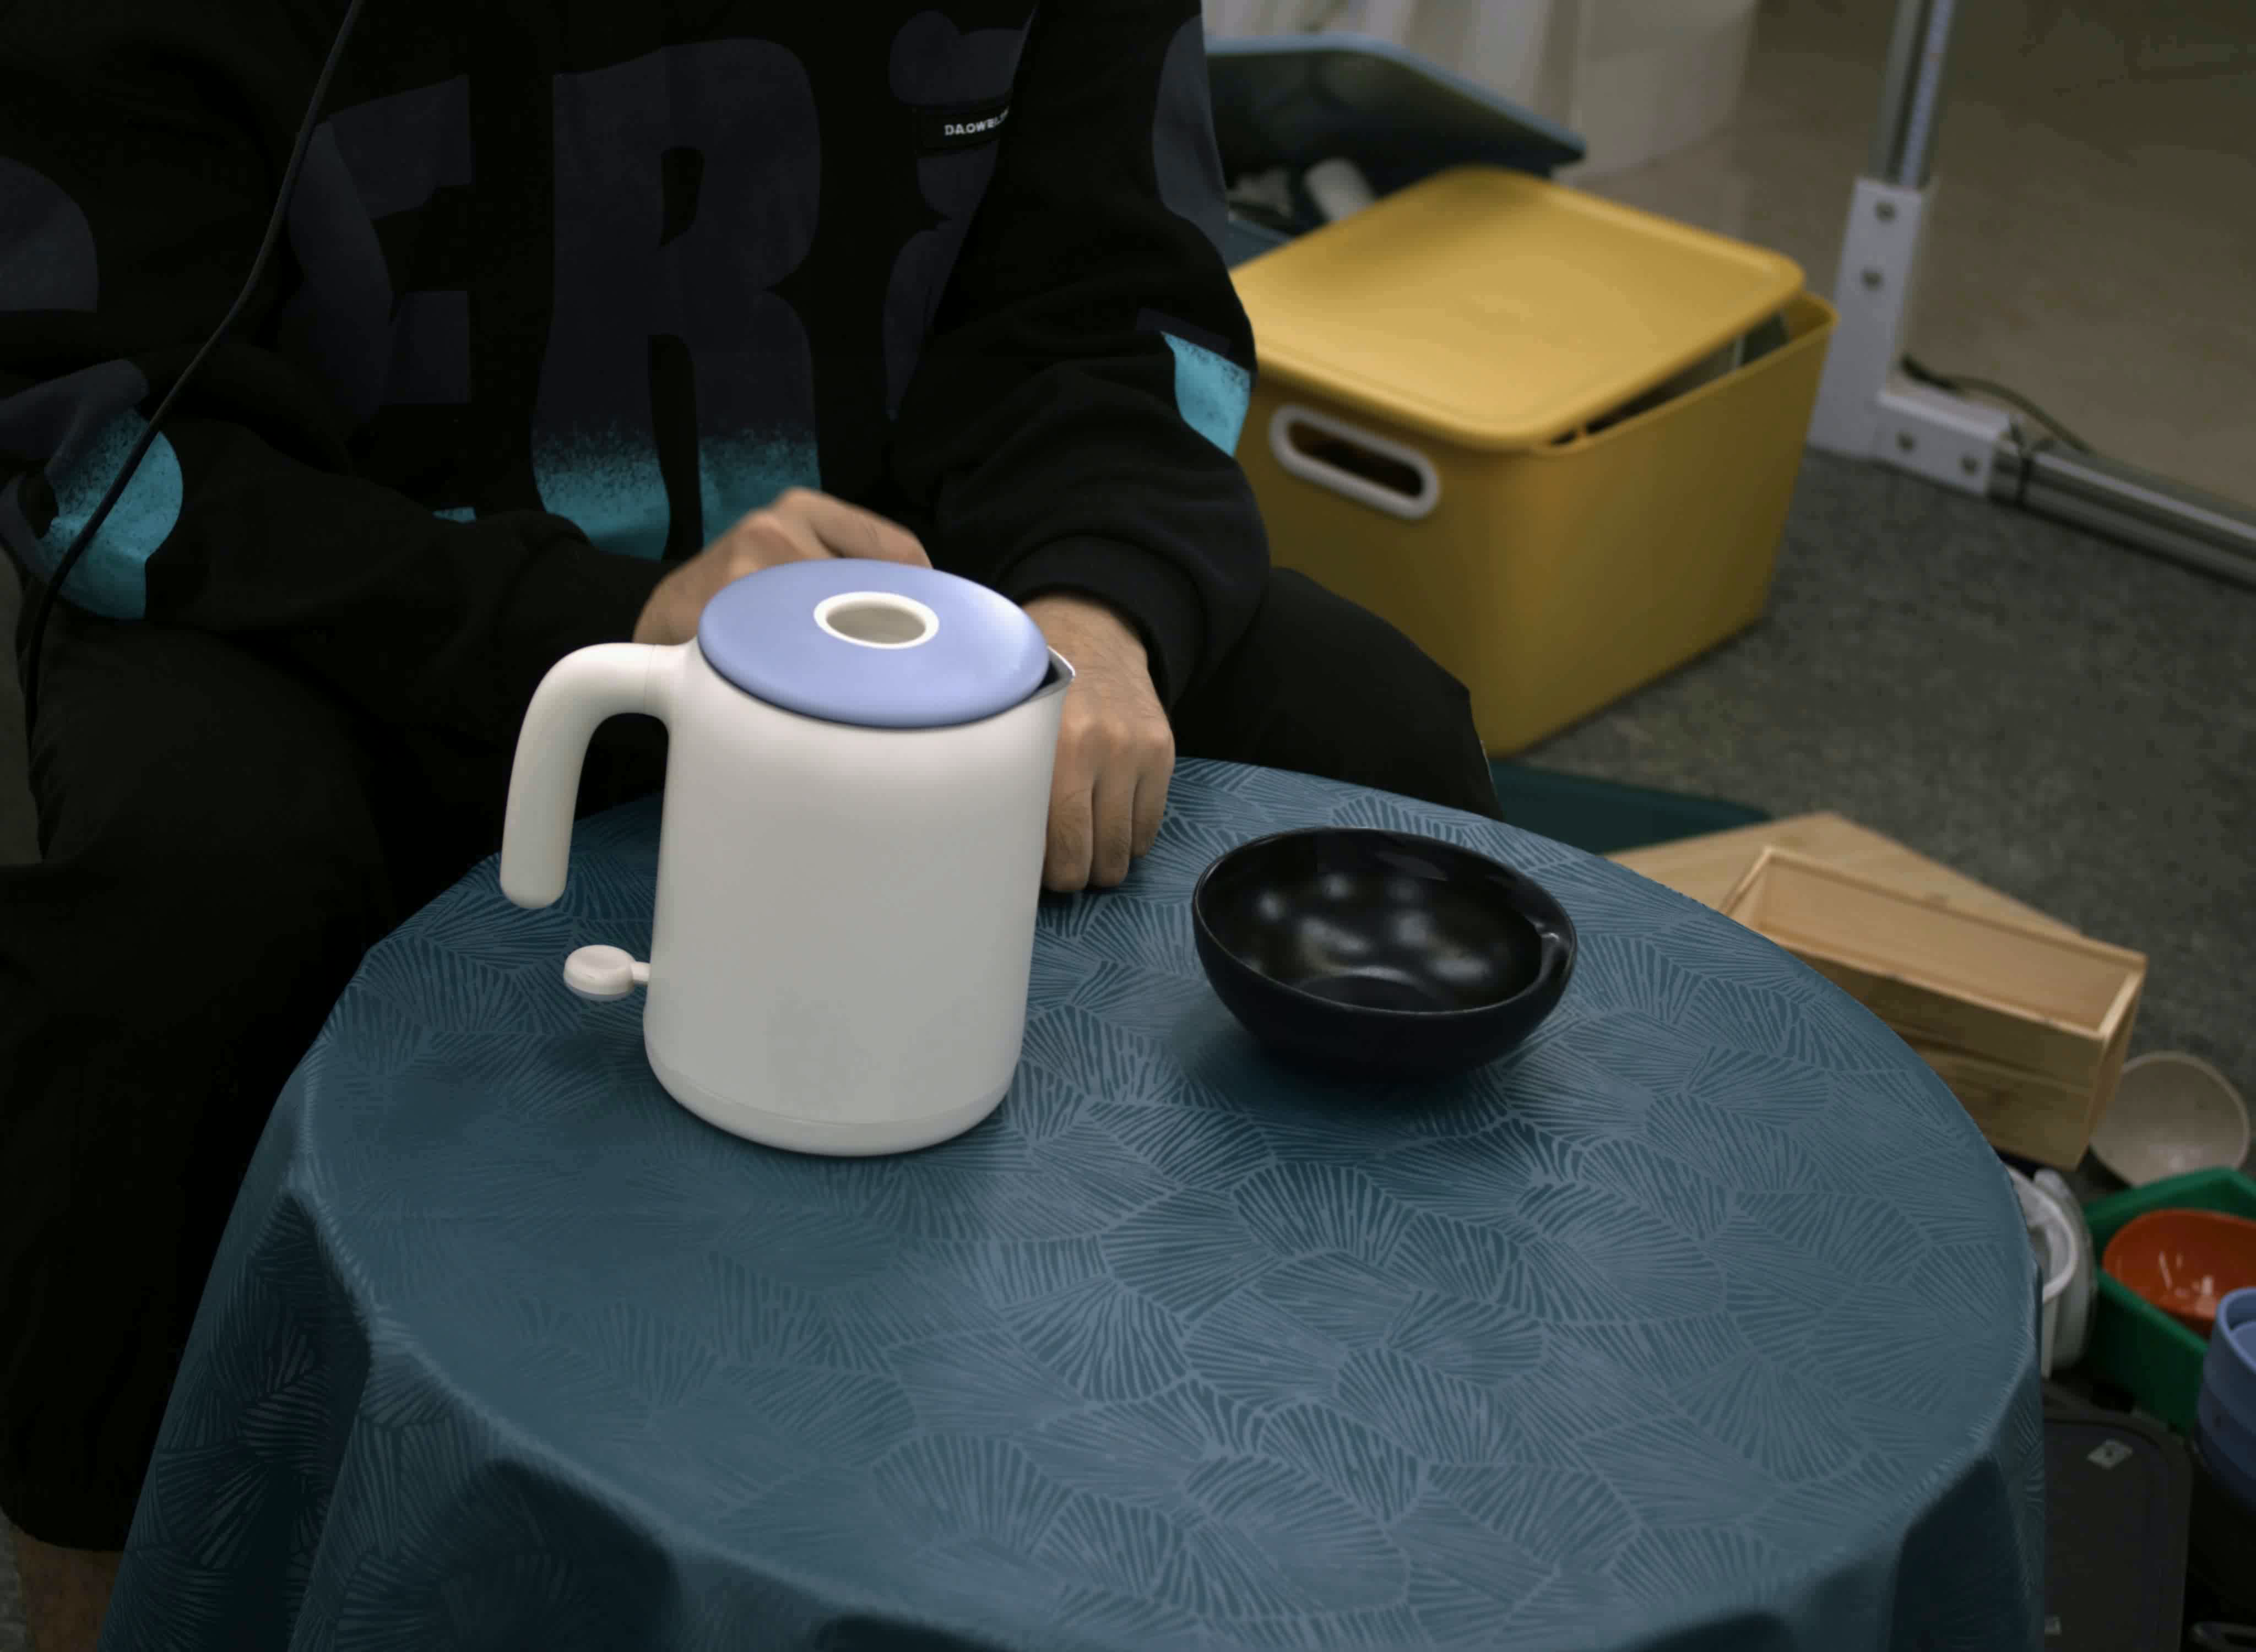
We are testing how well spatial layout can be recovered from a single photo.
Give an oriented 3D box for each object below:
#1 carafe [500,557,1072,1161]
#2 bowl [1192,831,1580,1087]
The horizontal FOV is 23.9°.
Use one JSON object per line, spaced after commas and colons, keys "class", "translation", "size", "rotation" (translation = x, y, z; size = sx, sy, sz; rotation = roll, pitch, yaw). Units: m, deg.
{"class": "carafe", "translation": [-0.118, 0.008, 1.812], "size": [0.190, 0.182, 0.133], "rotation": [4, 25, 1]}
{"class": "bowl", "translation": [0.090, 0.055, 1.901], "size": [0.139, 0.049, 0.141], "rotation": [4, 26, -2]}
